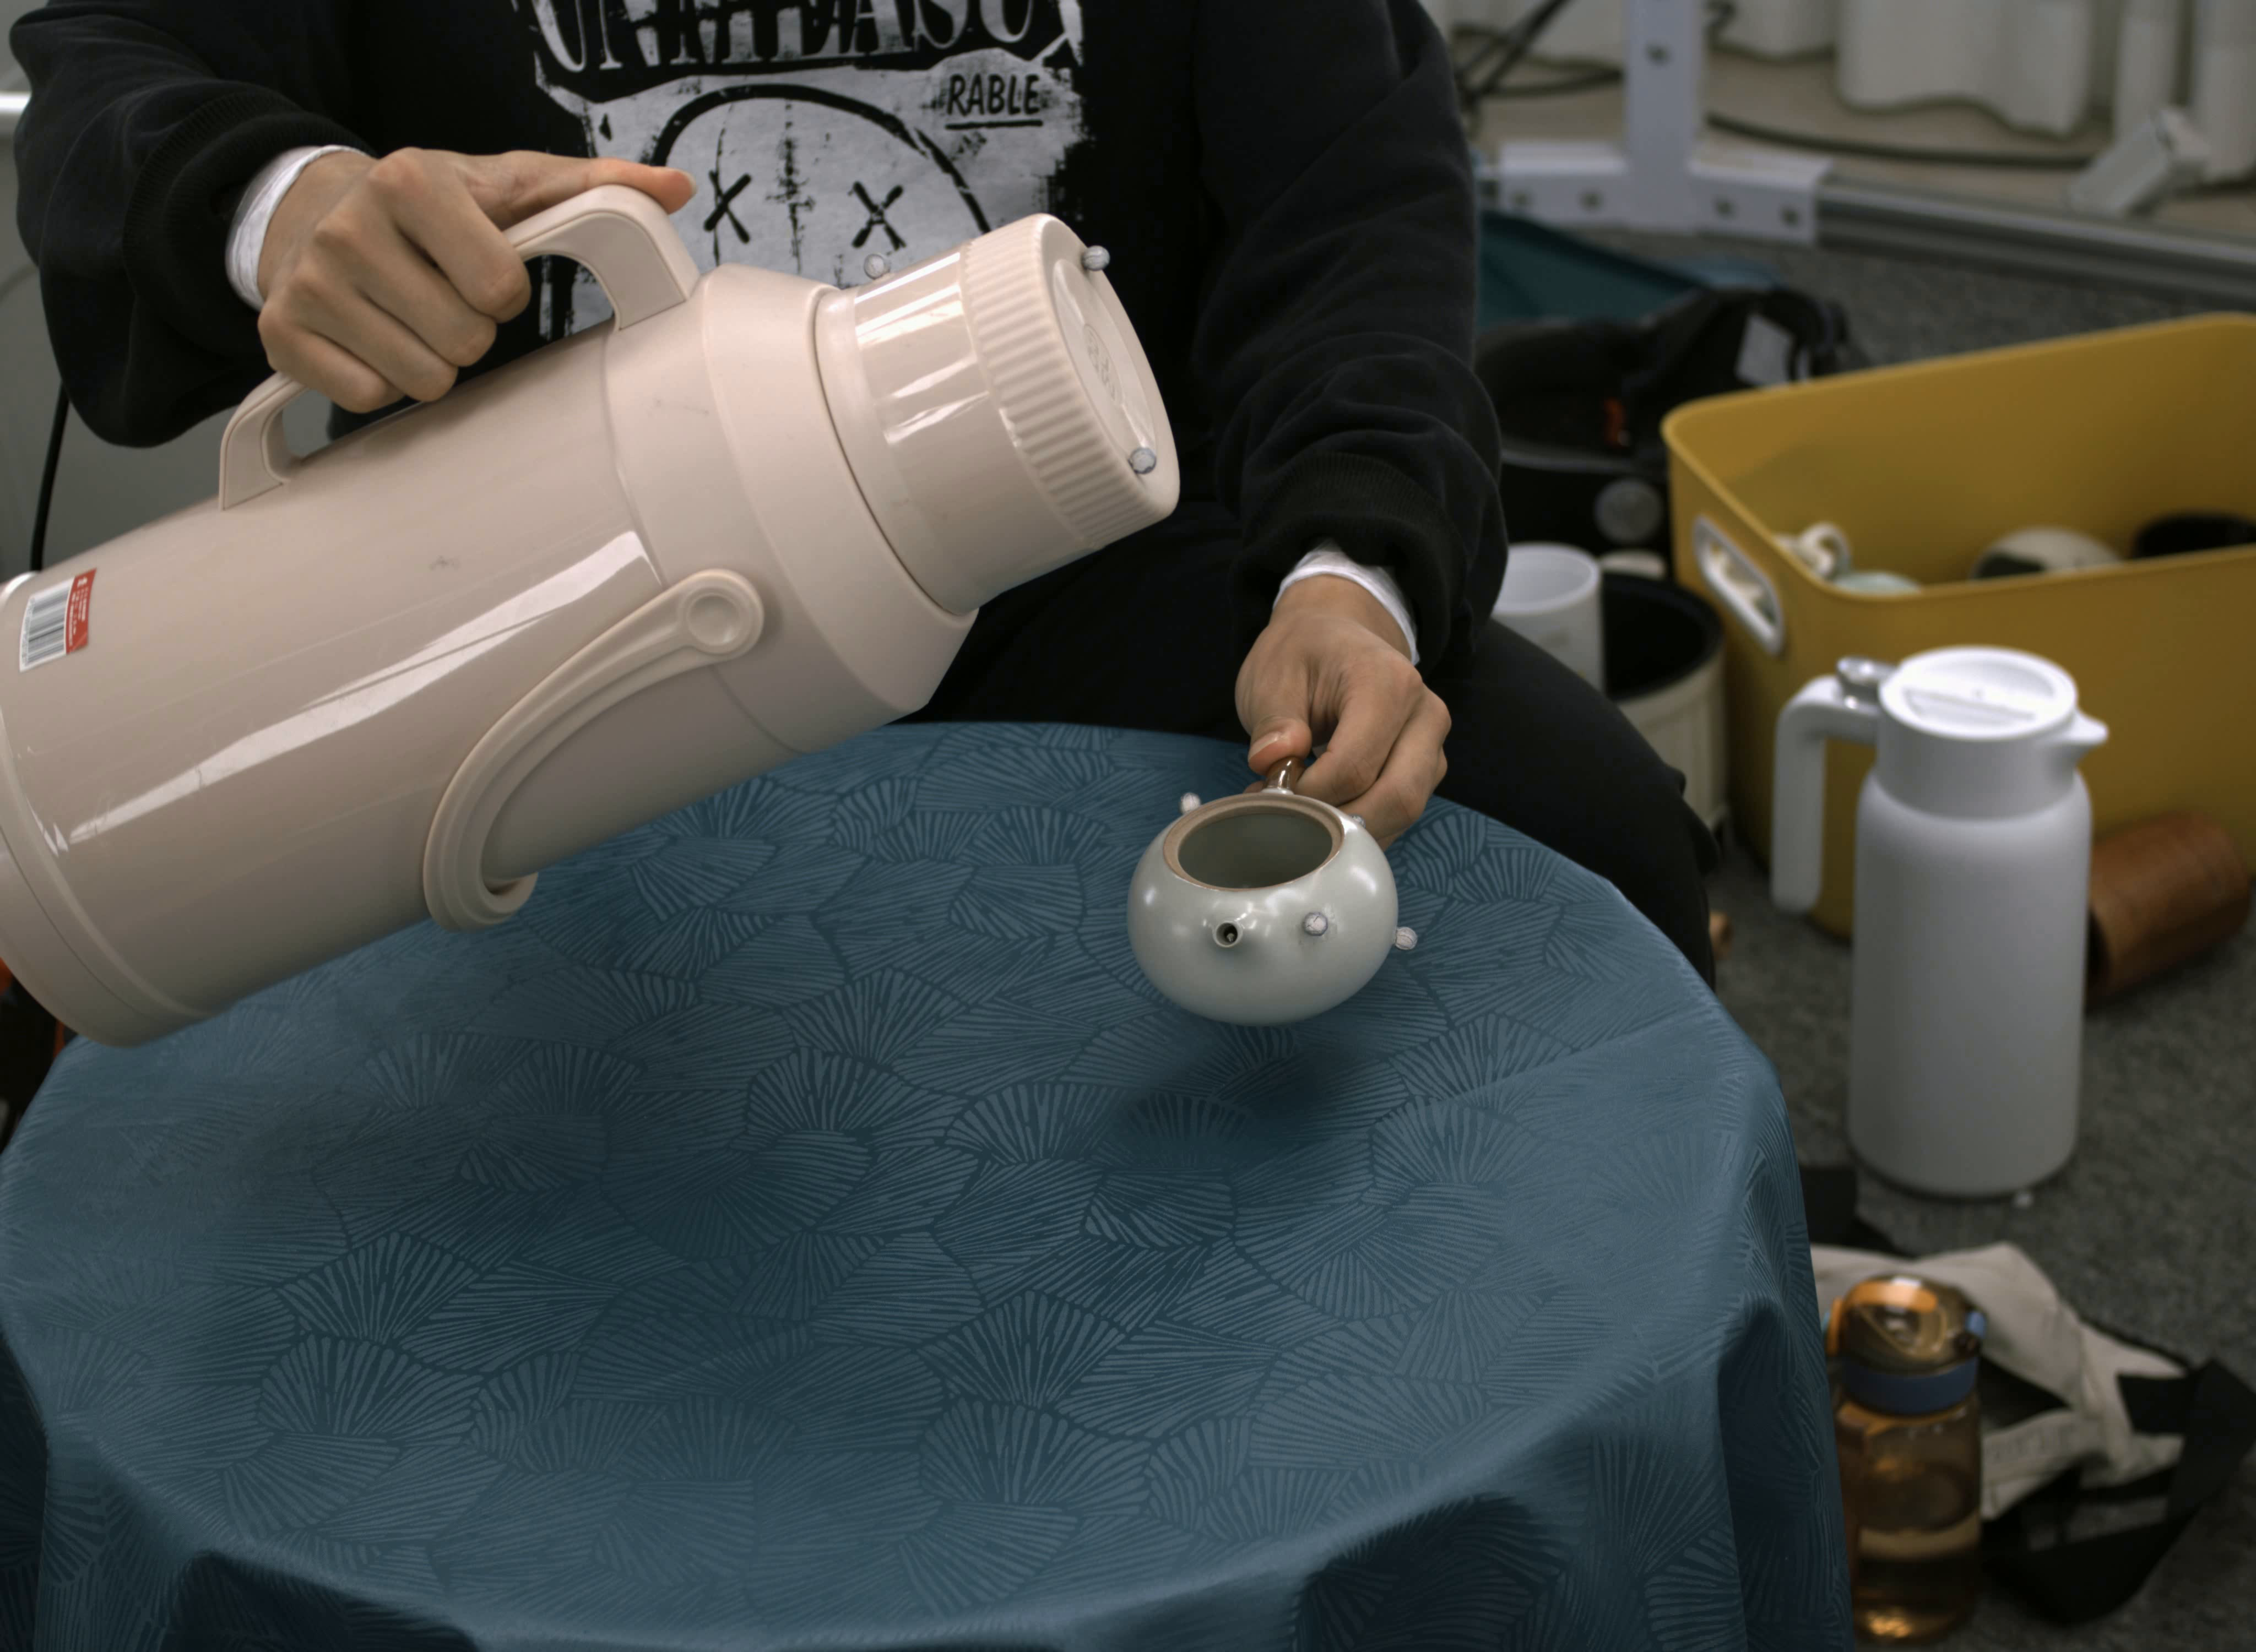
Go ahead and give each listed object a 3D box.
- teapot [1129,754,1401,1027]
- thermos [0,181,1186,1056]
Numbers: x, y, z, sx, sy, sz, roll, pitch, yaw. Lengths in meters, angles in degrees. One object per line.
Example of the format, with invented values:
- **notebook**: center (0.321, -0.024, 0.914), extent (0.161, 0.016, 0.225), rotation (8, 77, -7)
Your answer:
- **teapot**: center (0.047, 0.023, 1.896), extent (0.091, 0.059, 0.130), rotation (-3, 31, 13)
- **thermos**: center (-0.188, -0.084, 1.825), extent (0.402, 0.206, 0.178), rotation (-24, 20, 16)
